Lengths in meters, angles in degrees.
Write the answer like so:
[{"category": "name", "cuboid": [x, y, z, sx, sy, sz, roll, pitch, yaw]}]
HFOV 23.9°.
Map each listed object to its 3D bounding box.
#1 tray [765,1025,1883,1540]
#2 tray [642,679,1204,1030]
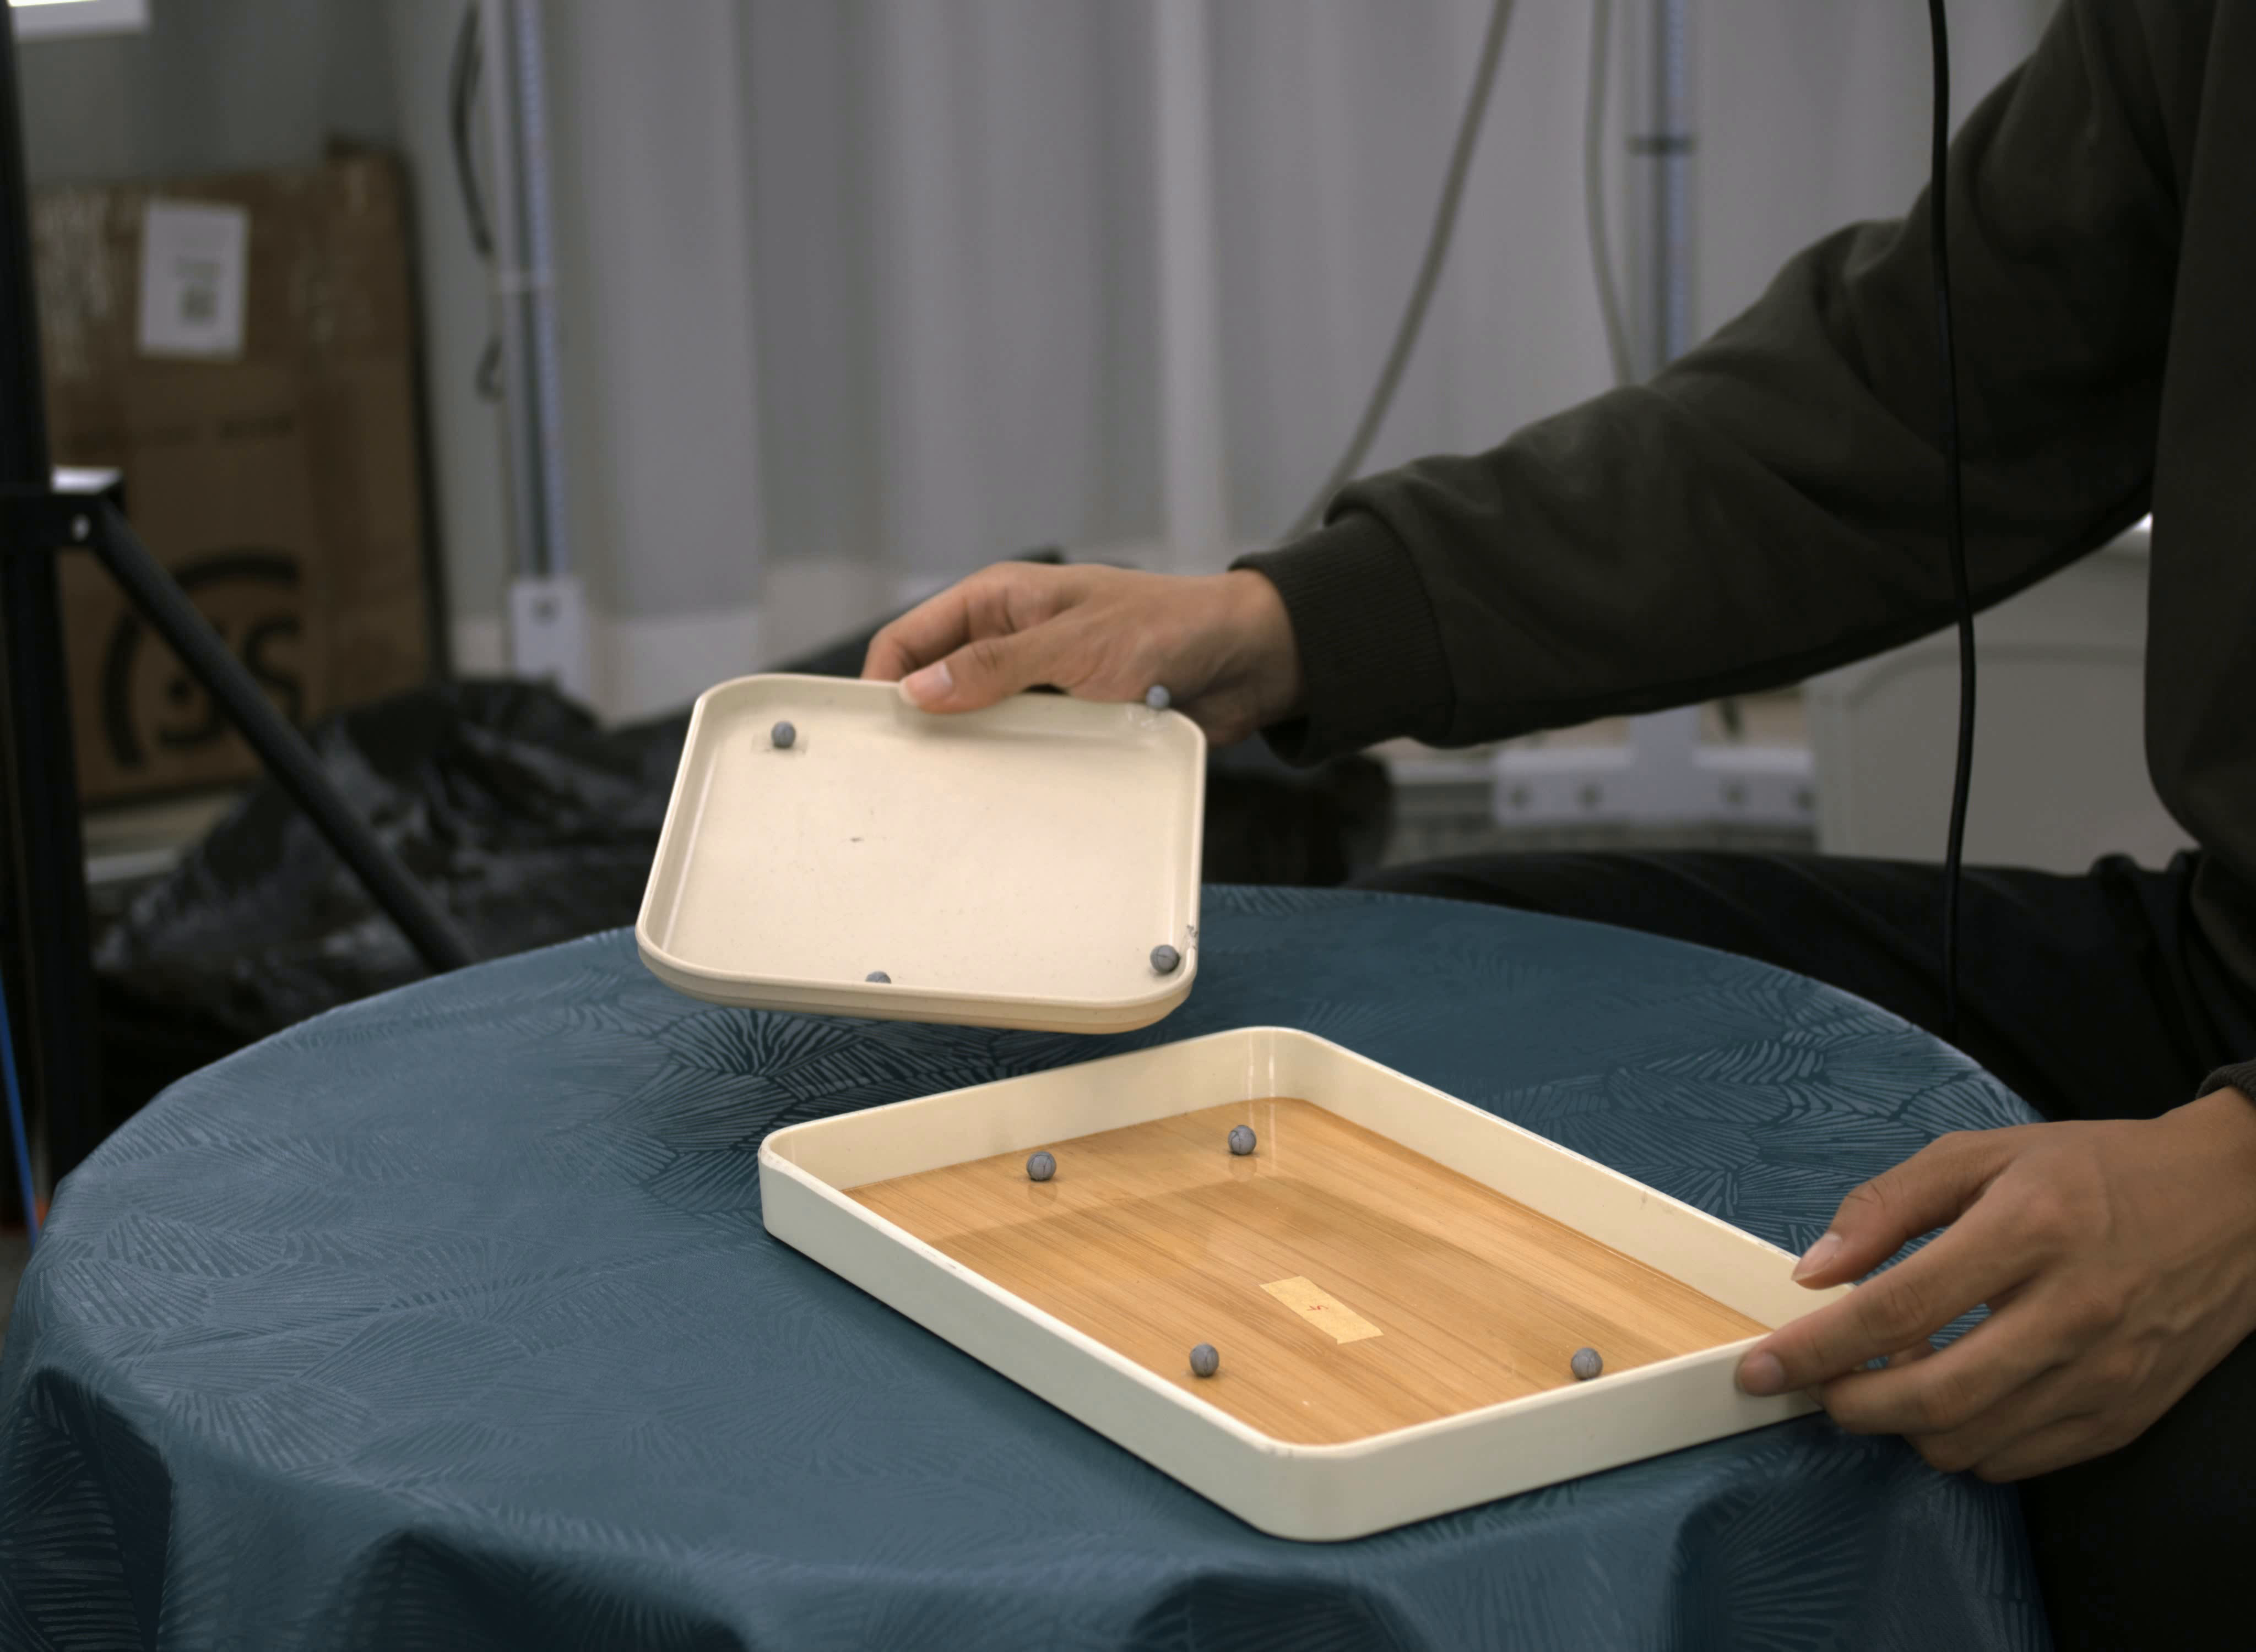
[{"category": "tray", "cuboid": [0.047, 0.120, 1.463, 0.187, 0.027, 0.307, -11, 18, -29]}, {"category": "tray", "cuboid": [-0.061, 0.008, 1.687, 0.171, 0.017, 0.241, 3, 23, 1]}]
